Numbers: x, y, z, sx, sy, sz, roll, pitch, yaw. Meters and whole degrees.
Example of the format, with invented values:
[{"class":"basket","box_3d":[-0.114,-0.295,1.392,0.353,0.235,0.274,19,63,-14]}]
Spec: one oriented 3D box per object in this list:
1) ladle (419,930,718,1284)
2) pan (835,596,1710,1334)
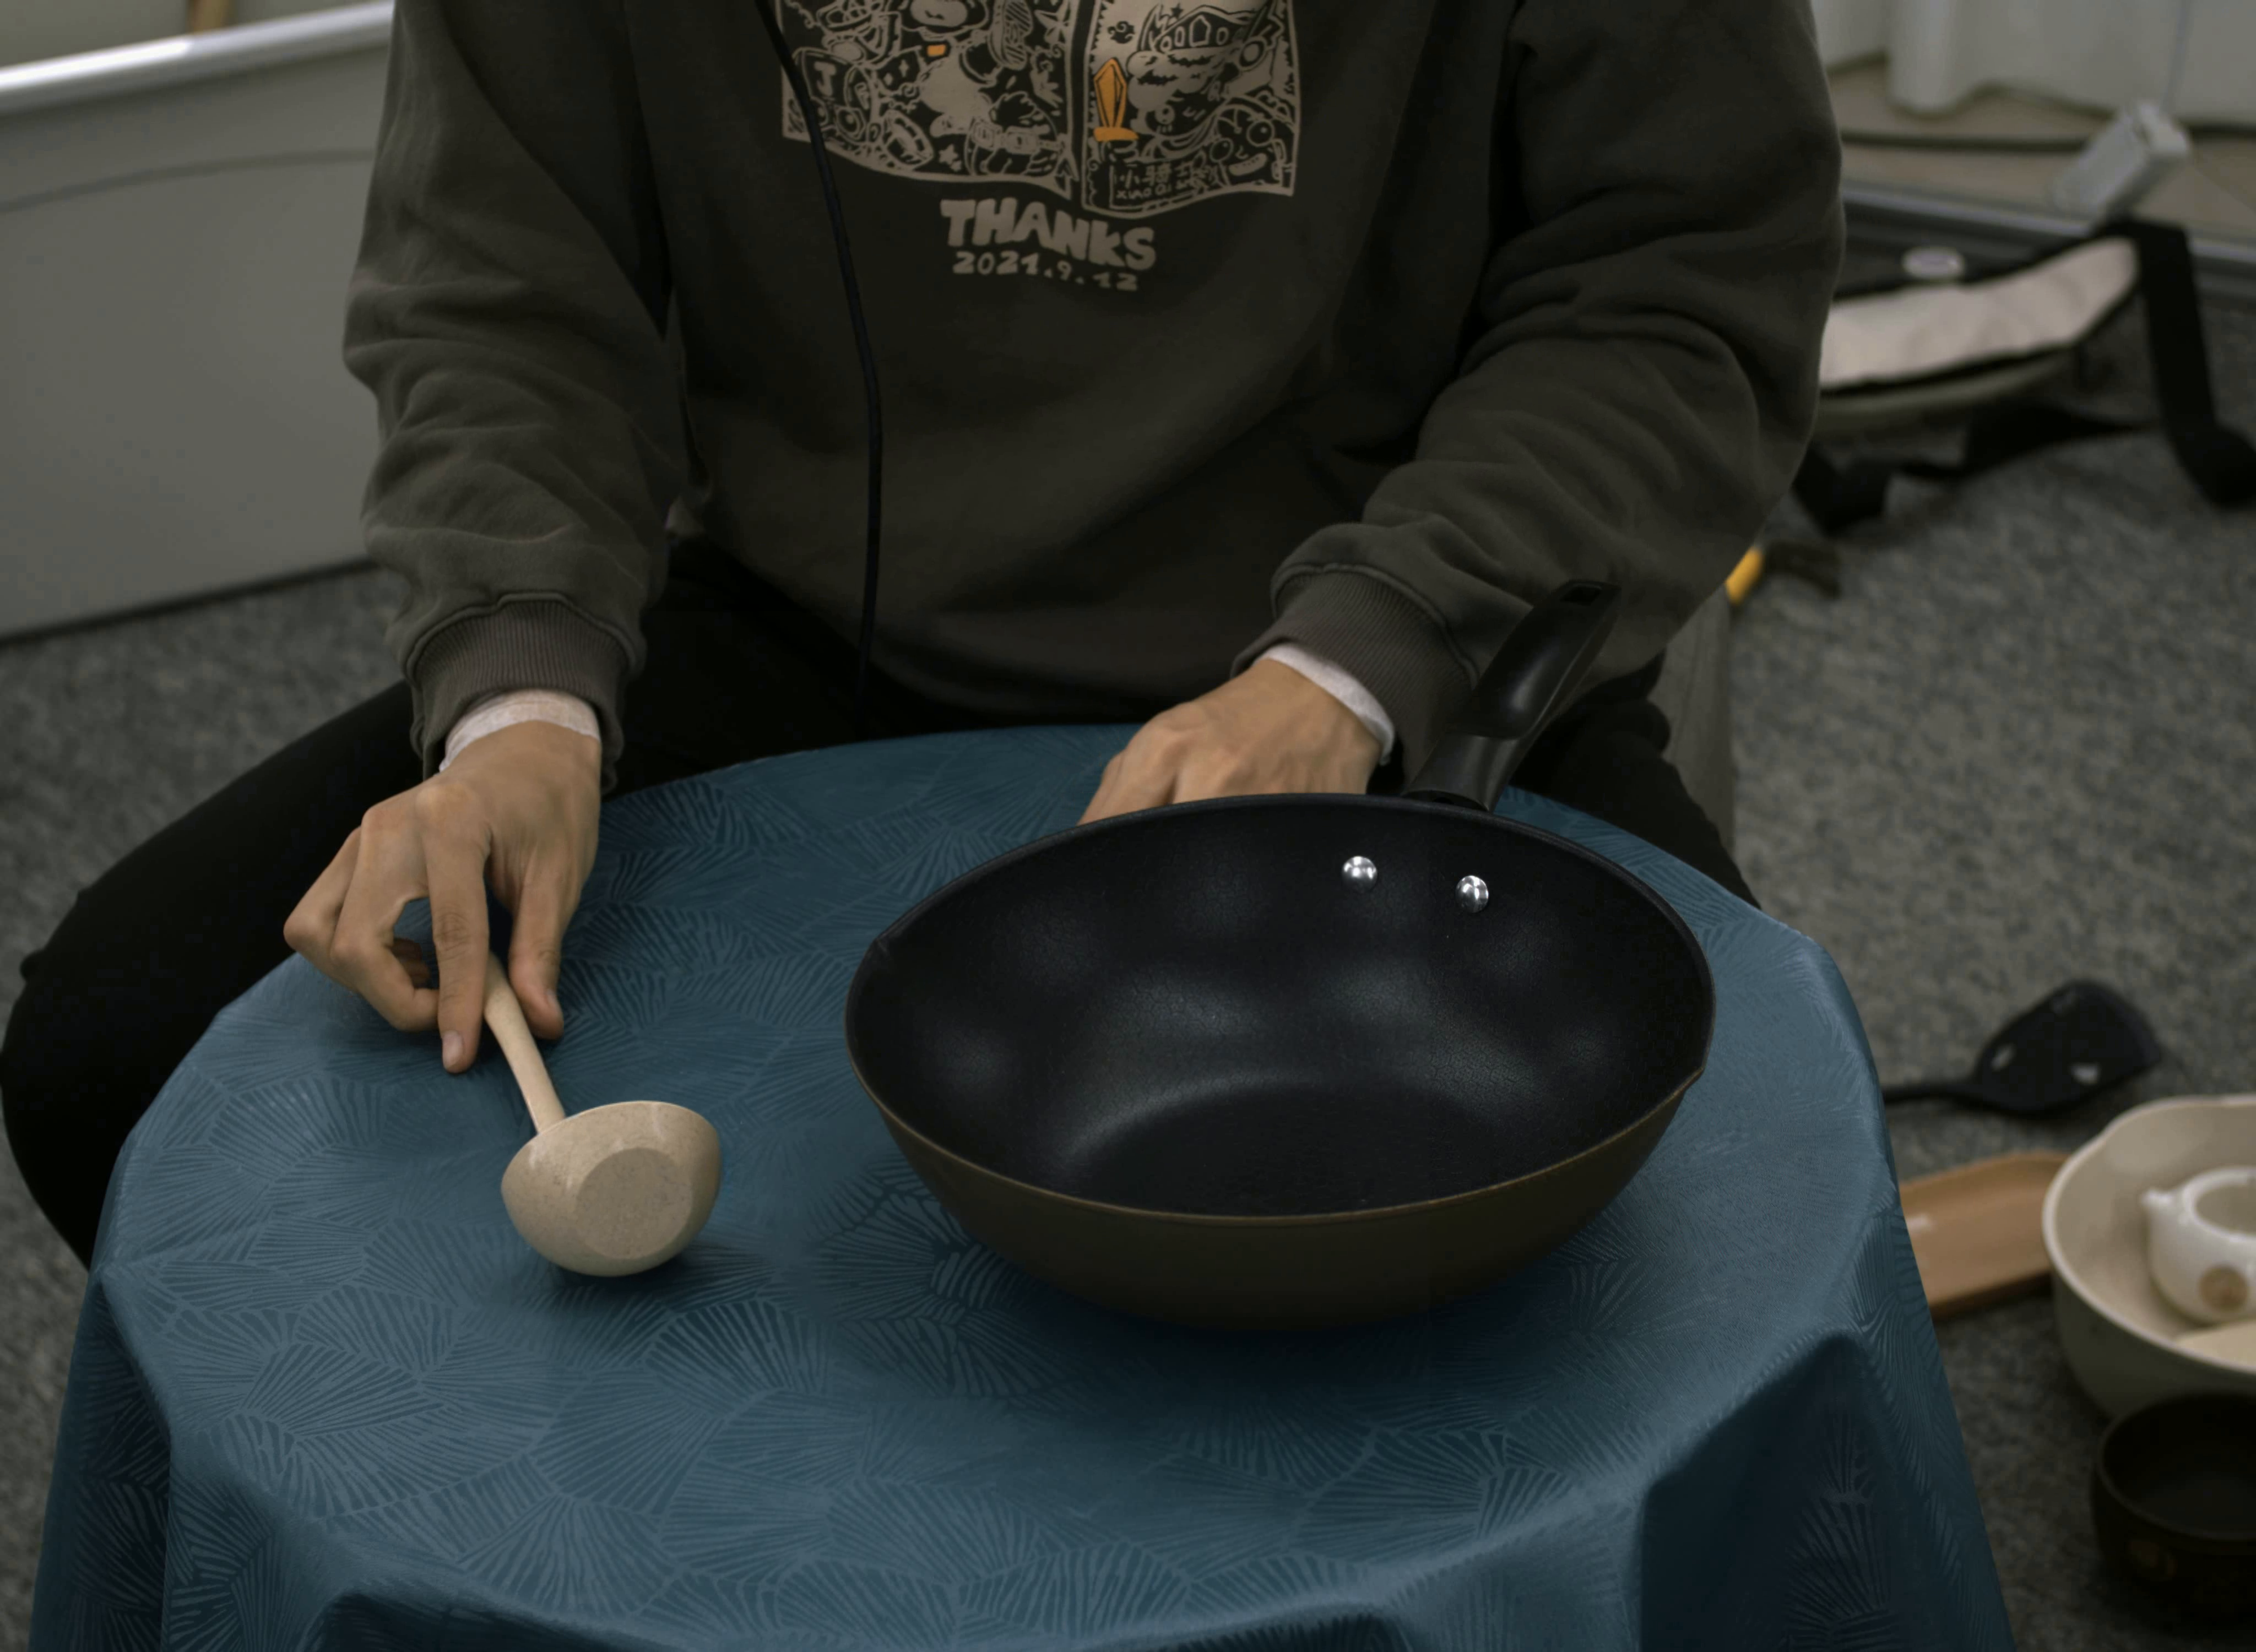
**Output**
[{"class":"ladle","box_3d":[-0.202,0.068,1.898,0.072,0.072,0.257,-7,30,-19]},{"class":"pan","box_3d":[0.084,0.048,1.905,0.286,0.086,0.471,9,29,21]}]
